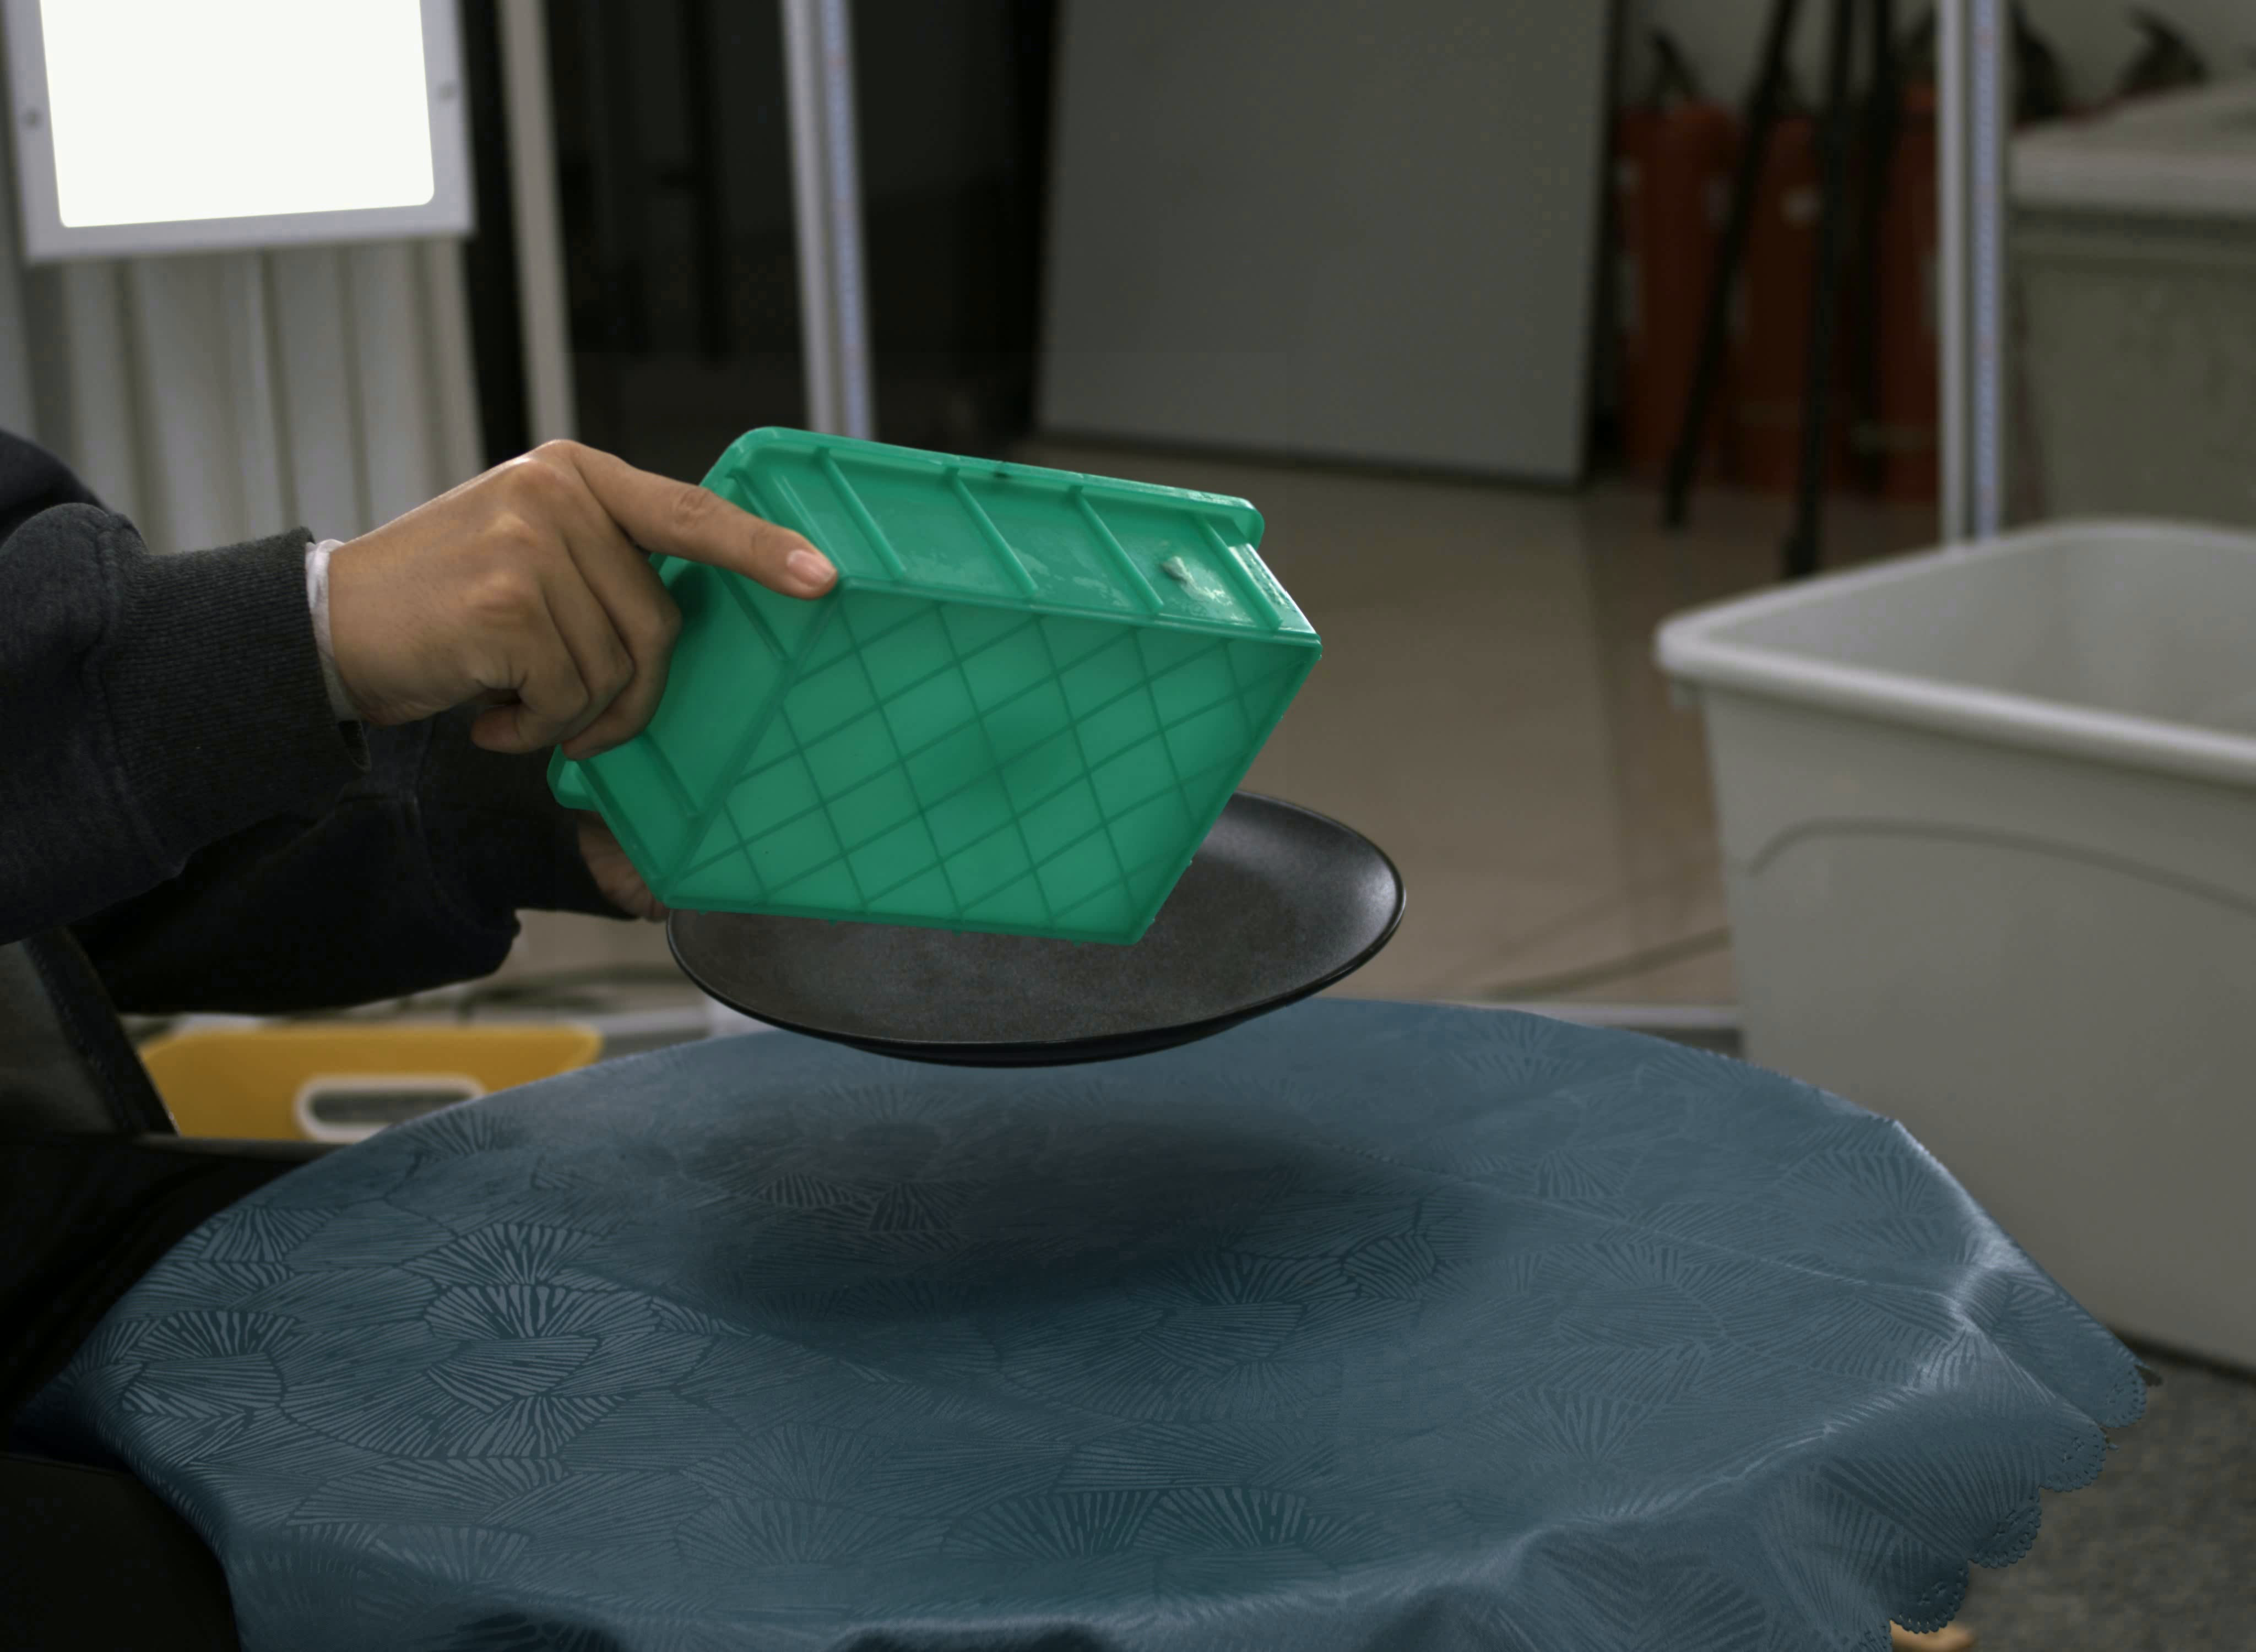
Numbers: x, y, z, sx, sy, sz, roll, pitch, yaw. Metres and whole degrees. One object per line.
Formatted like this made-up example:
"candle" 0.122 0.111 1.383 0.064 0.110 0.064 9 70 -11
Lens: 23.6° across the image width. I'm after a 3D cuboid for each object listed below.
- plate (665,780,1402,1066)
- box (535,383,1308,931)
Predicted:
"plate" -0.030 0.033 1.764 0.241 0.023 0.245 -3 20 0
"box" -0.053 -0.041 1.542 0.206 0.140 0.066 6 33 -42
